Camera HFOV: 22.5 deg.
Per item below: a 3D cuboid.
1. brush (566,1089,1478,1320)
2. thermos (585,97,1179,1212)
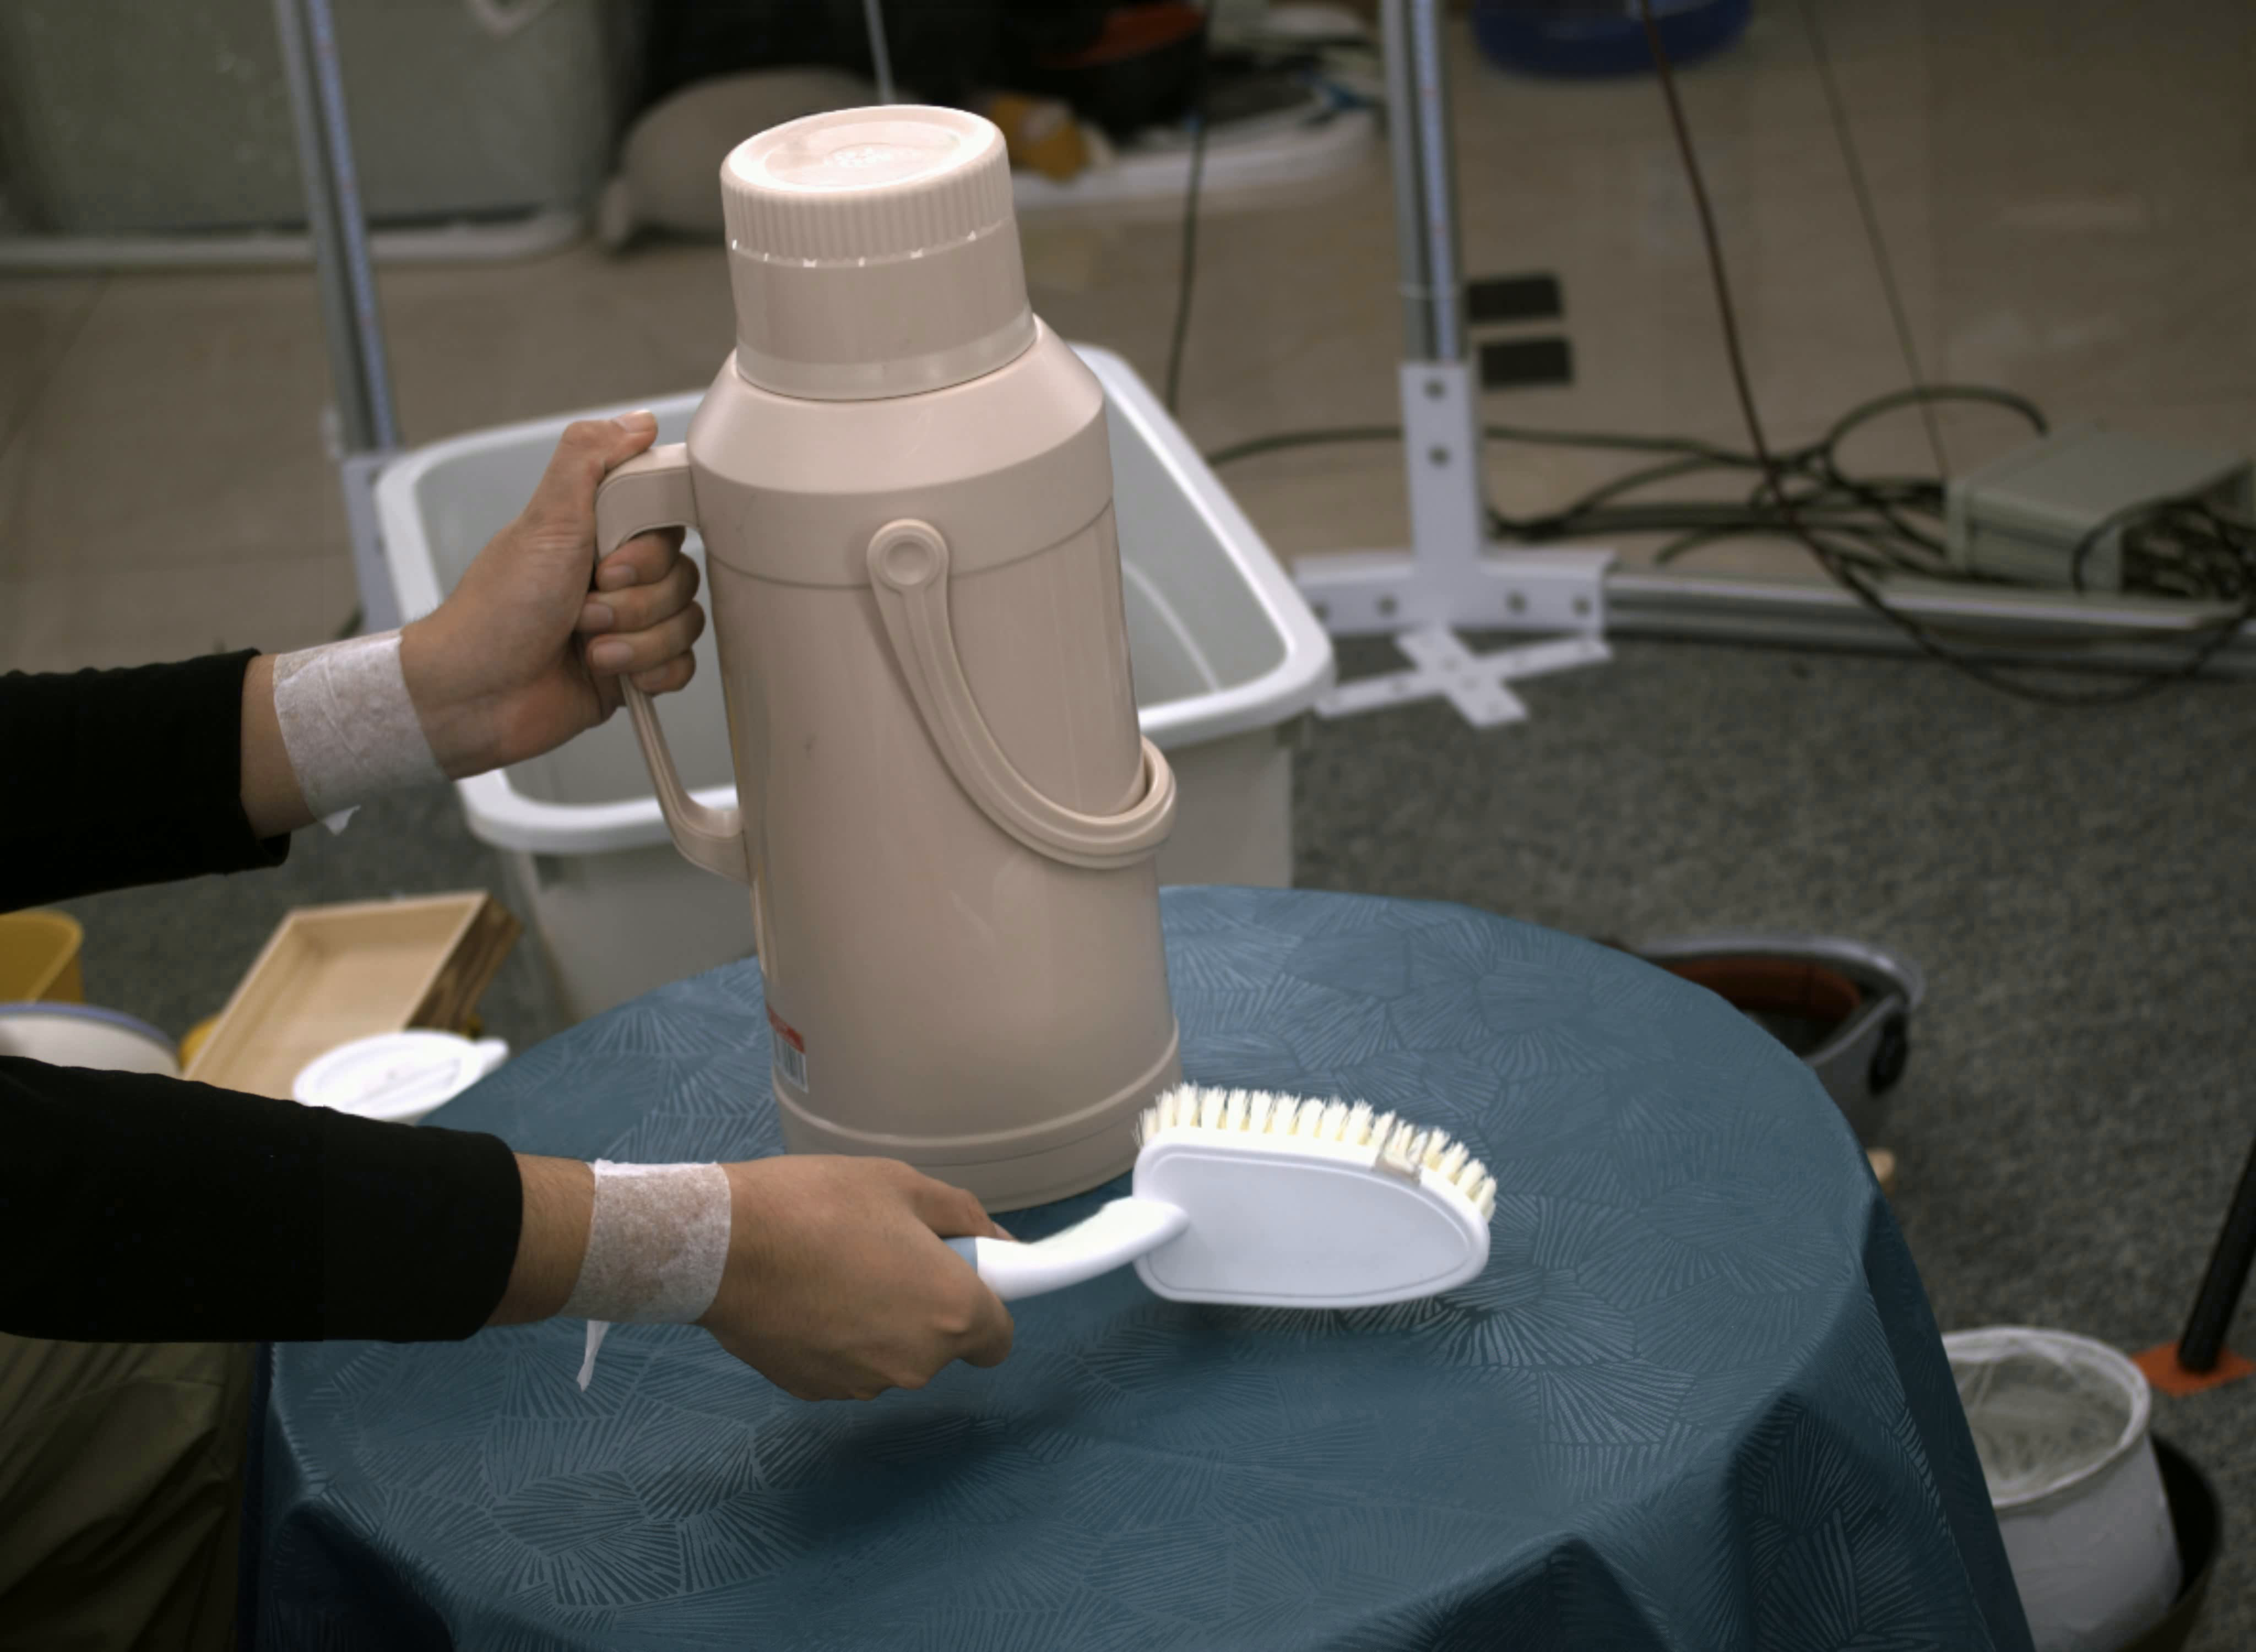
[{"bbox_3d":[-0.037,0.136,2.020,0.325,0.082,0.085,-1,-12,-5],"label":"brush"},{"bbox_3d":[-0.091,-0.064,2.128,0.206,0.413,0.172,-6,27,-1],"label":"thermos"}]
